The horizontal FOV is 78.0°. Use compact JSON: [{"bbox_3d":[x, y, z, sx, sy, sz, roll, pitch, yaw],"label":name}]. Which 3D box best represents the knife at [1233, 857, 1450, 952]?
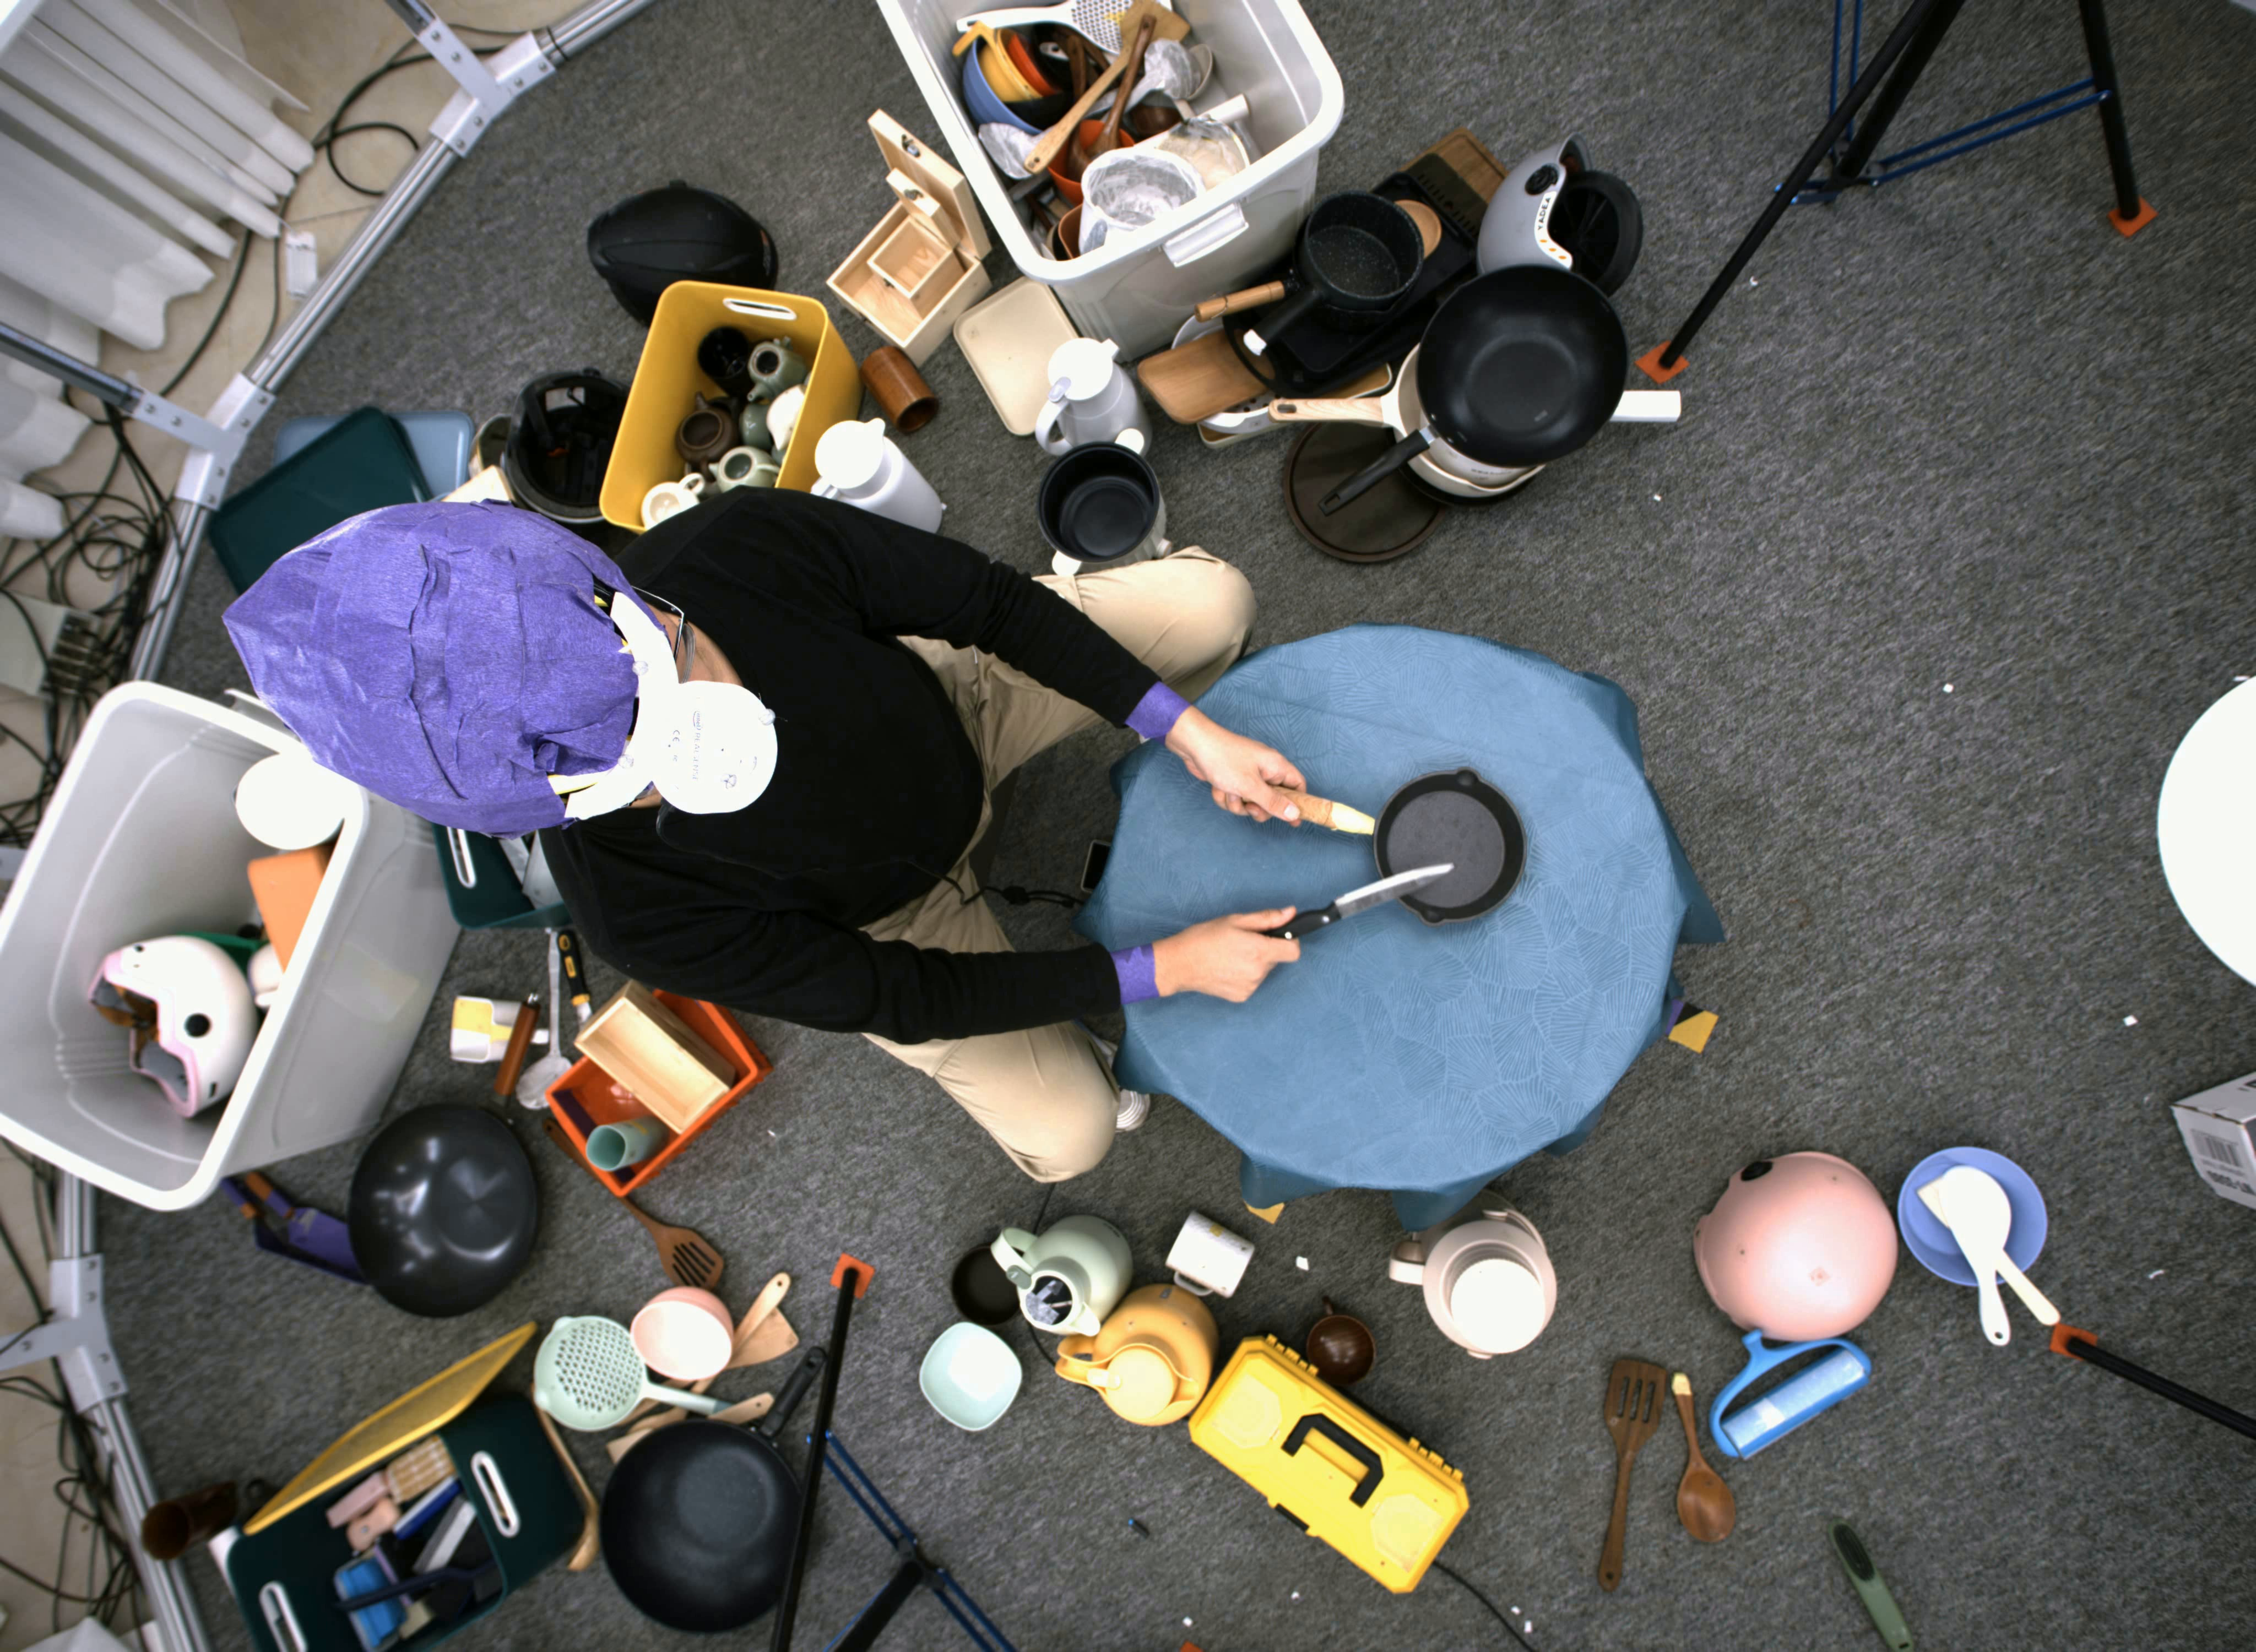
[{"bbox_3d":[0.221,0.080,1.422,0.240,0.016,0.025,-24,108,12],"label":"knife"}]

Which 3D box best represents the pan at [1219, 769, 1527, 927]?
[{"bbox_3d":[0.251,-0.003,1.430,0.324,0.050,0.168,17,88,6],"label":"pan"}]
